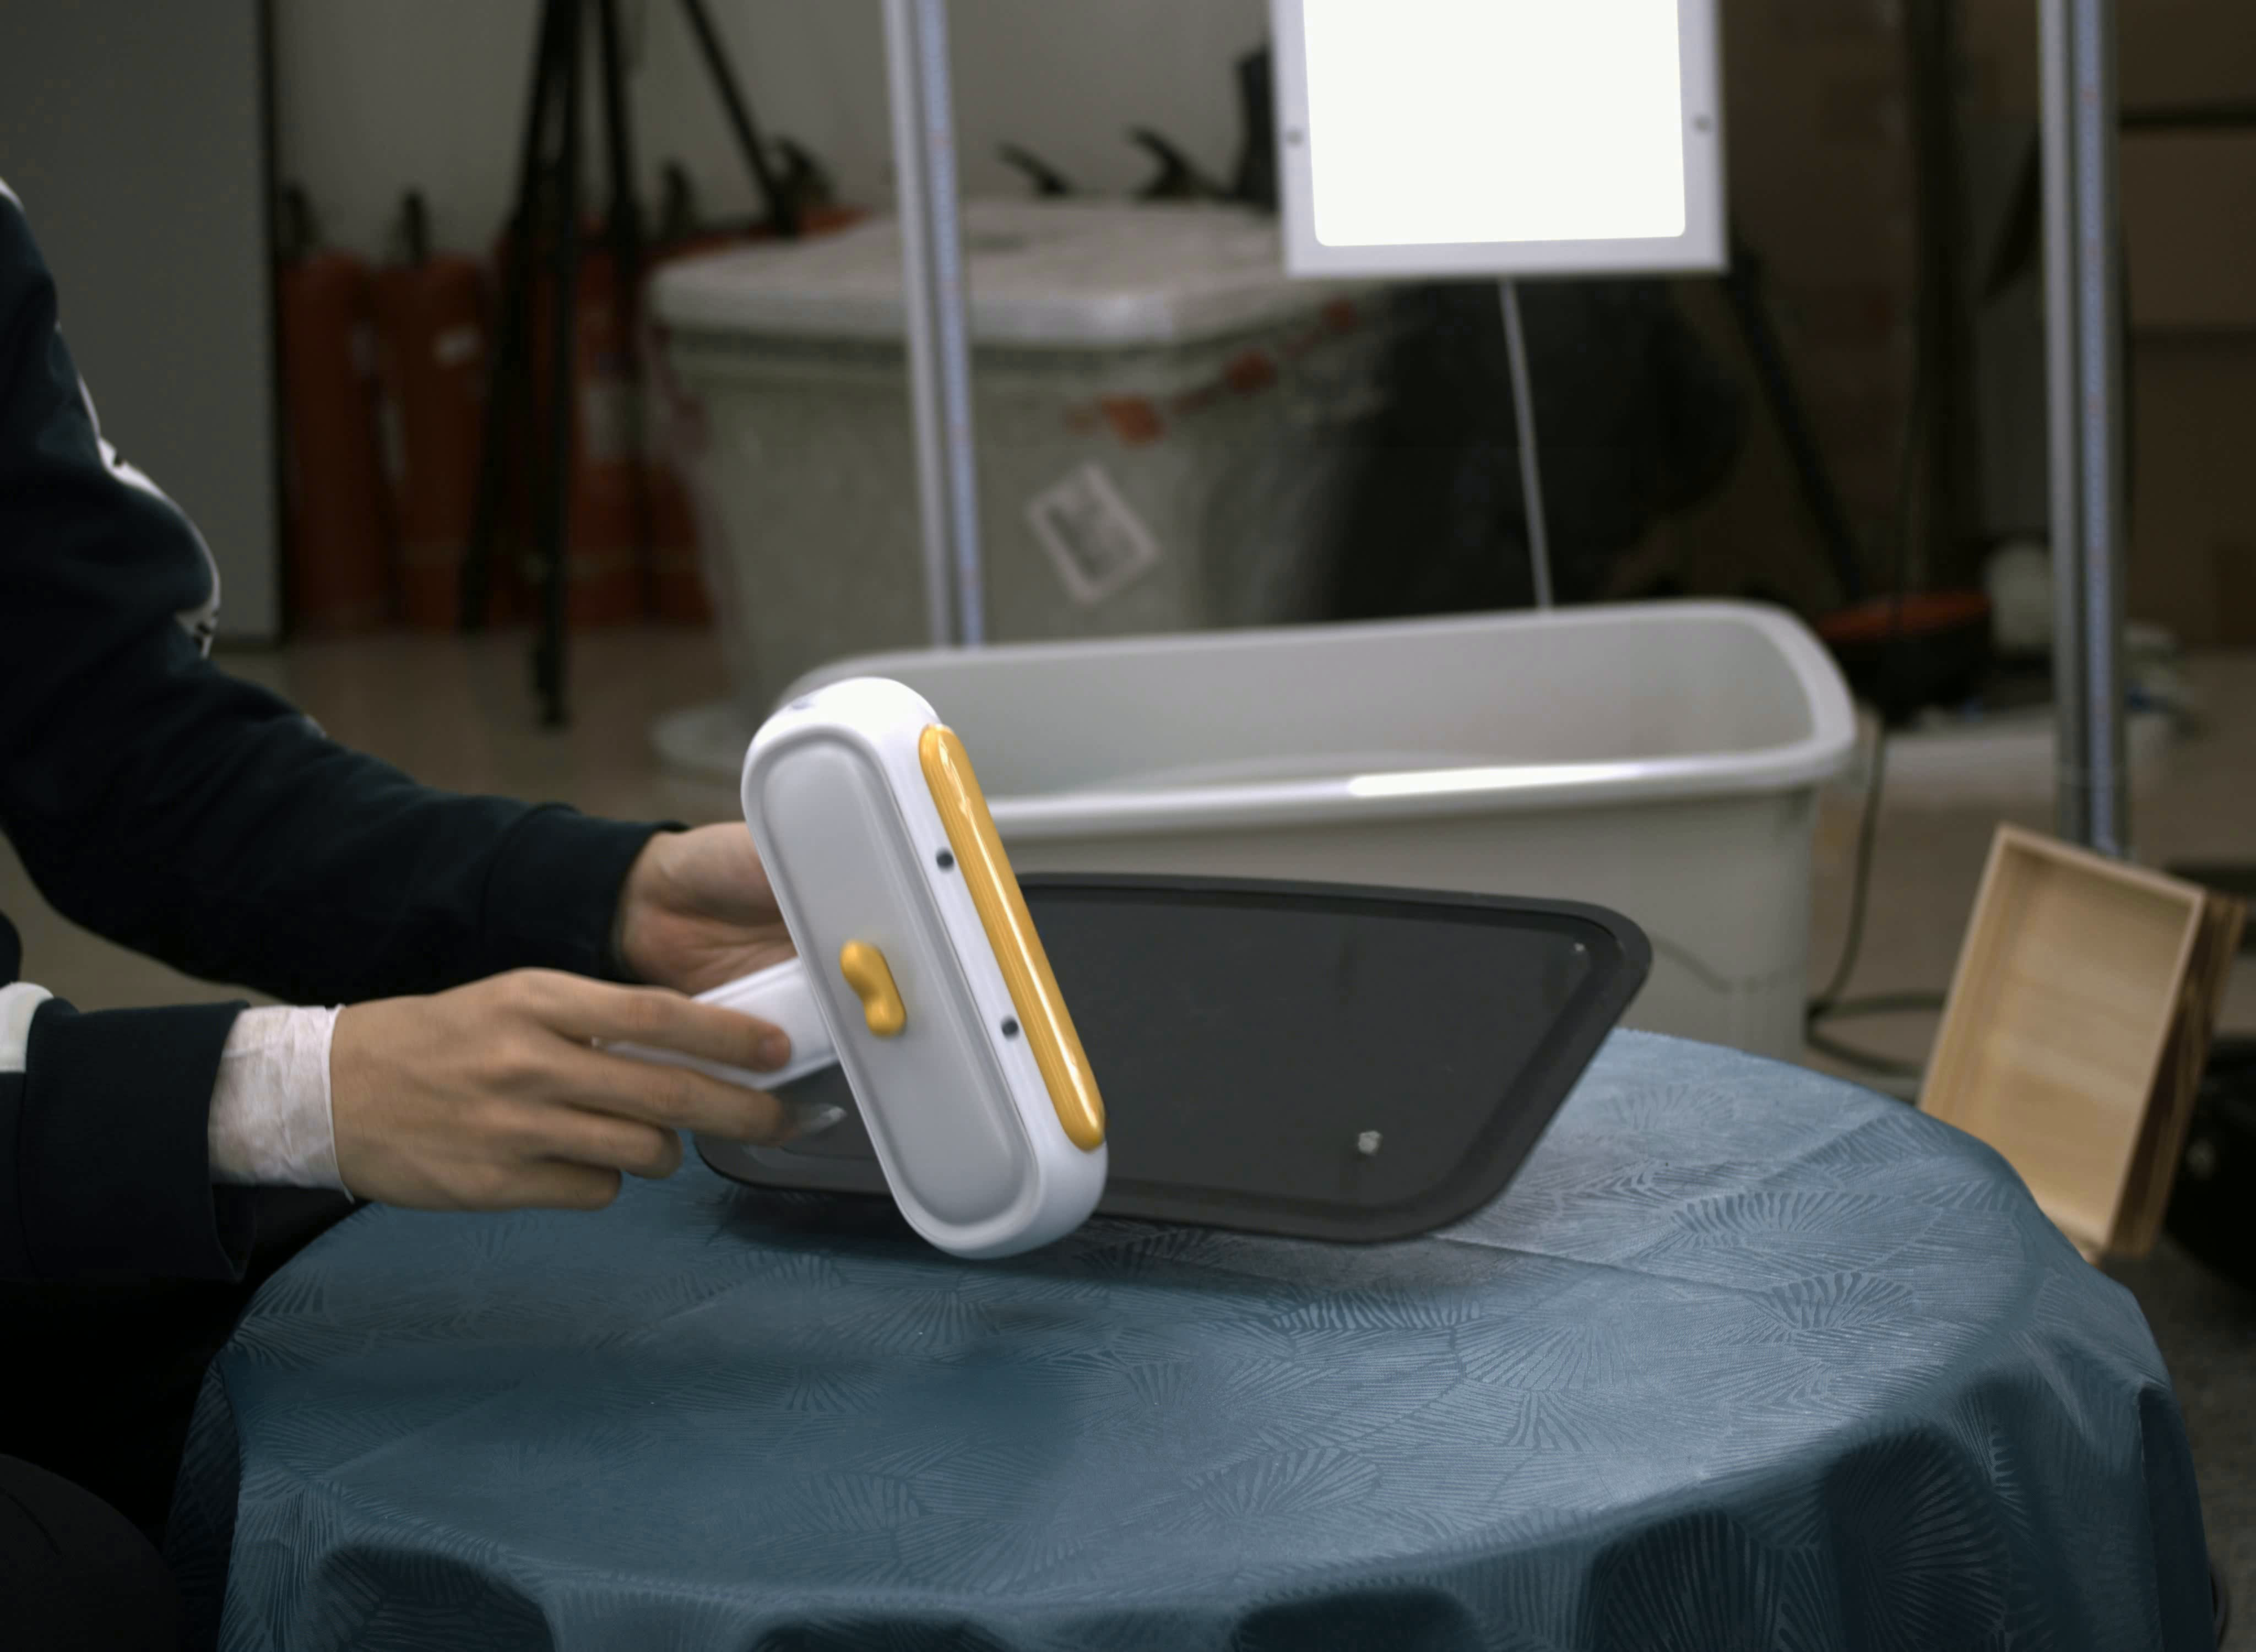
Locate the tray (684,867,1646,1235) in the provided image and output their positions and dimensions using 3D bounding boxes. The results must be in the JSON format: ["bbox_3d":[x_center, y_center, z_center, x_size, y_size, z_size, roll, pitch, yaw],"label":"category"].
[{"bbox_3d":[0.004,0.072,1.896,0.331,0.010,0.207,3,32,30],"label":"tray"}]

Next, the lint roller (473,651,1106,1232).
[{"bbox_3d":[-0.121,0.063,1.781,0.195,0.193,0.073,-26,1,20],"label":"lint roller"}]
